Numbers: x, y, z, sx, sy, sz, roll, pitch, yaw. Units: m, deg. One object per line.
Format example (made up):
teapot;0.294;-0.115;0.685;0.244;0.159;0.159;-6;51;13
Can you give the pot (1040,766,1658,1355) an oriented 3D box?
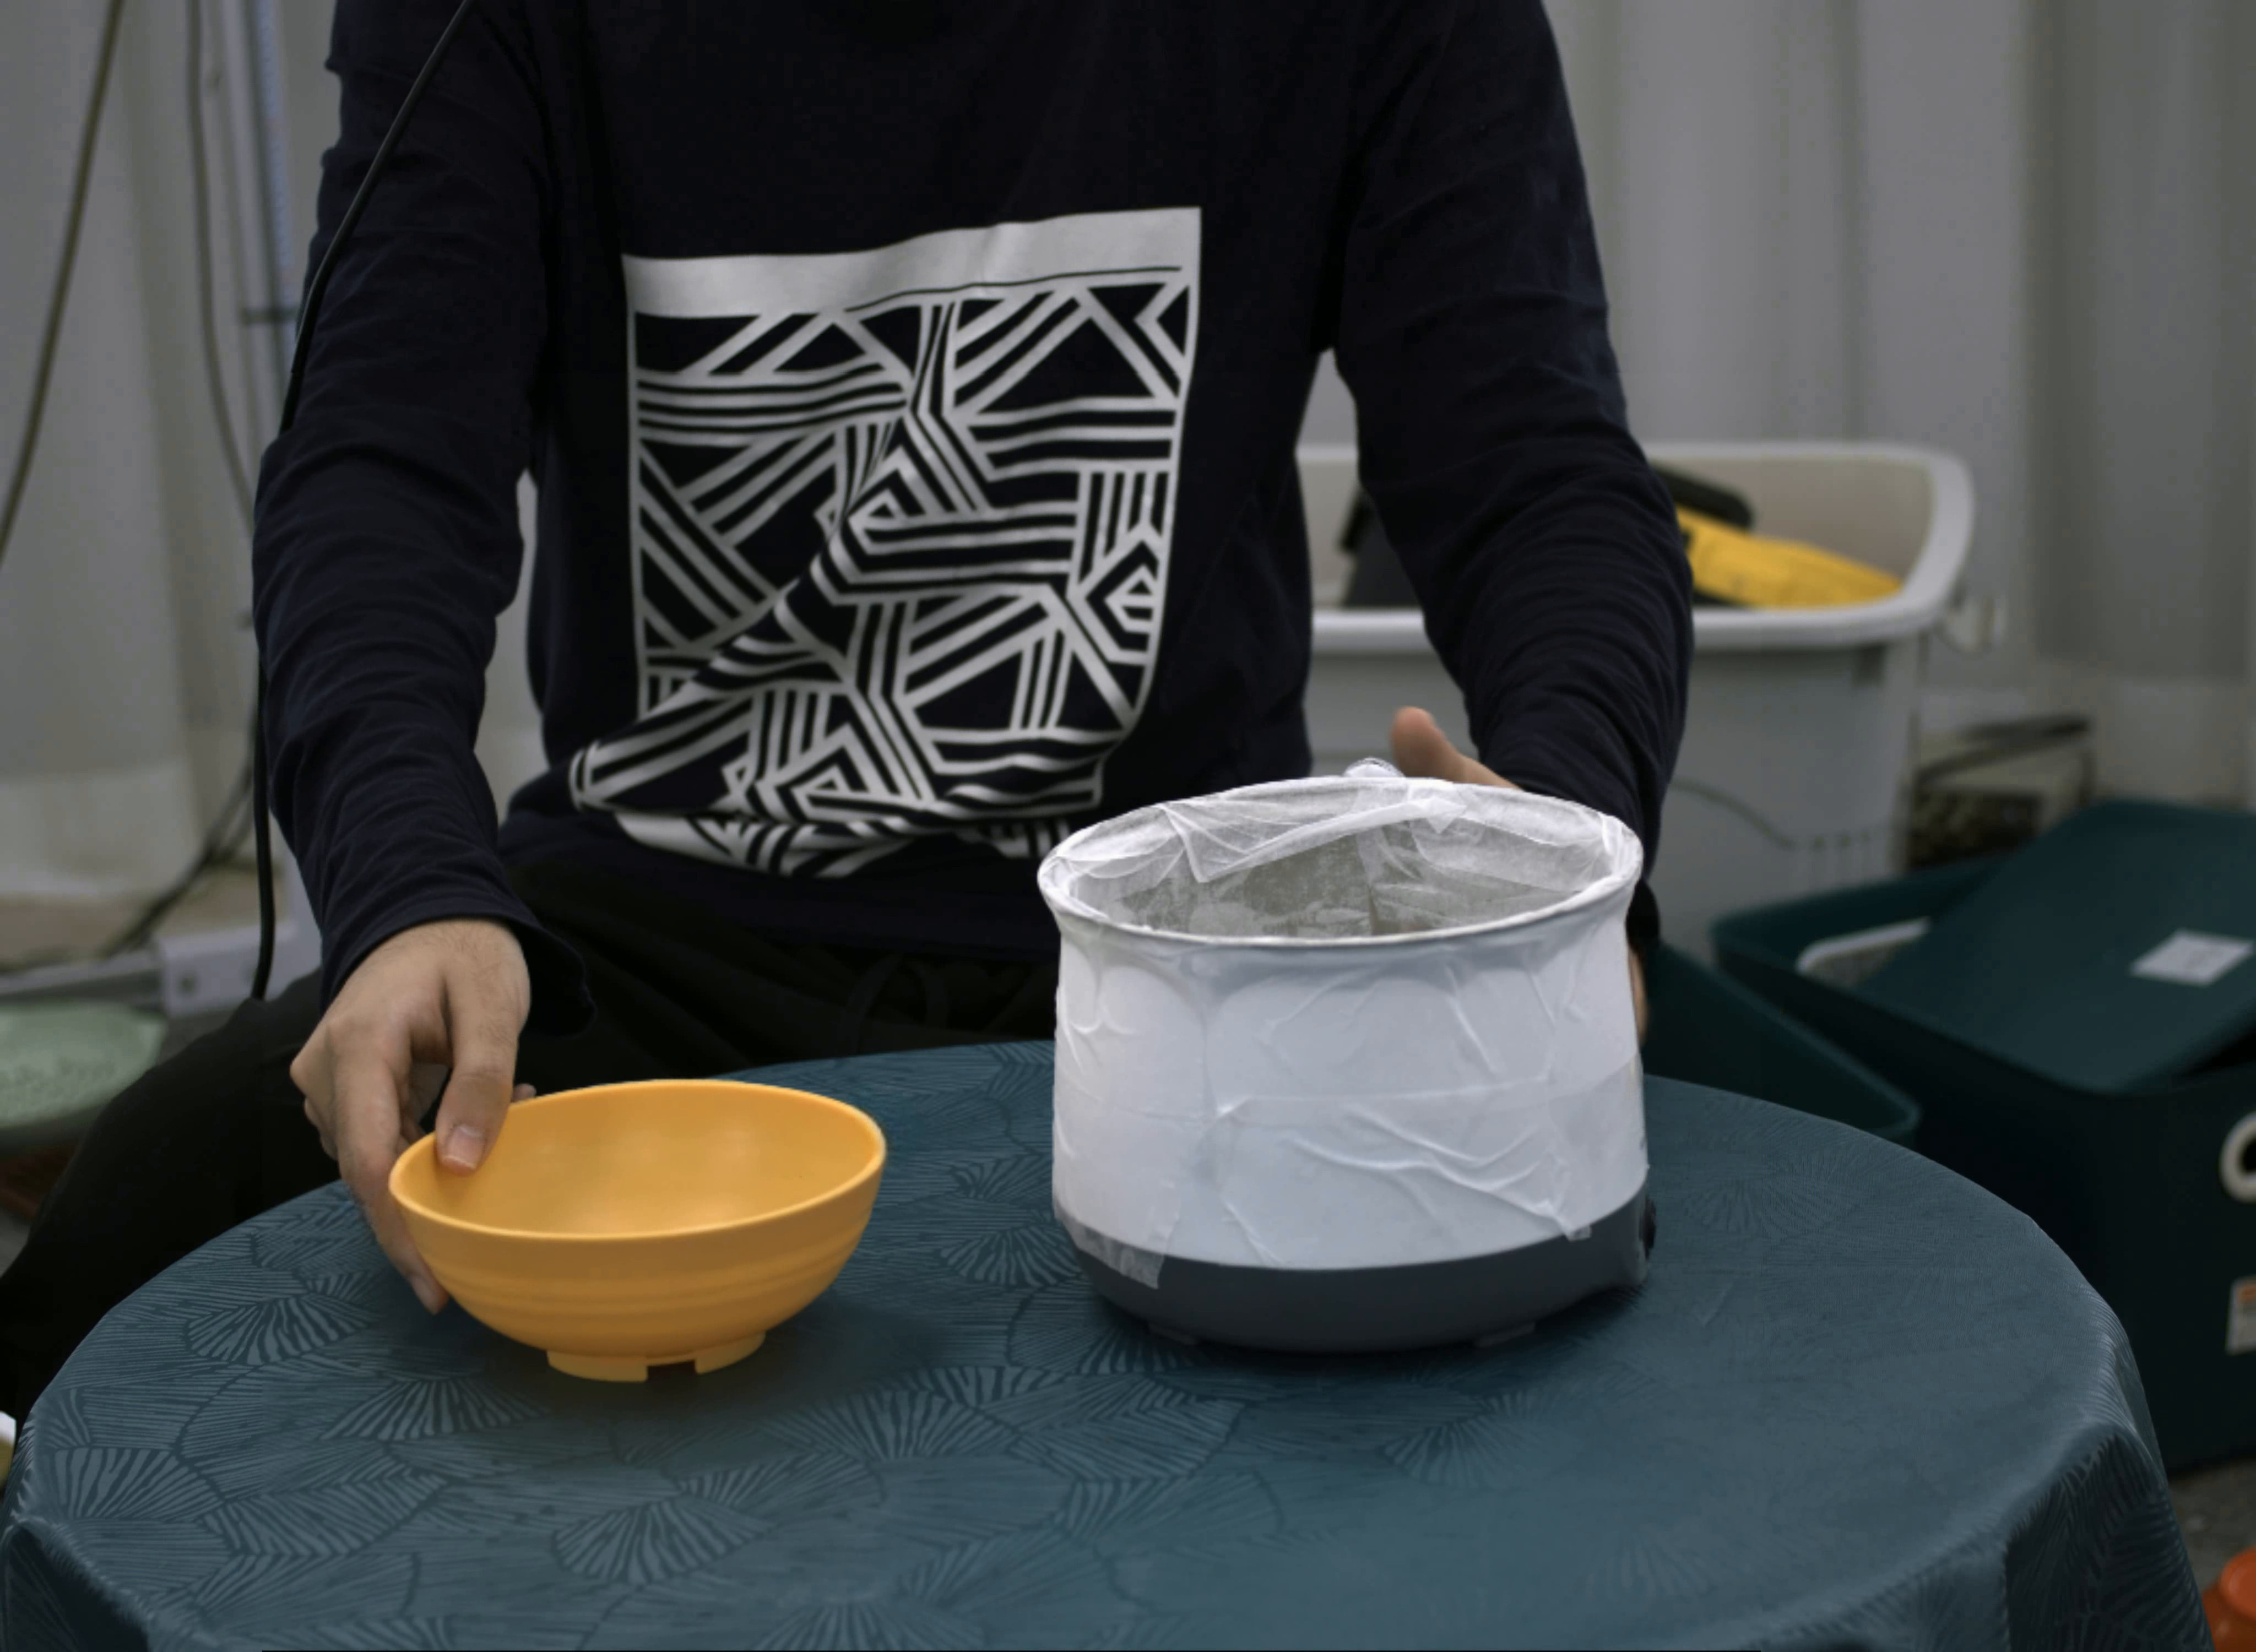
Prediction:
pot;0.069;0.065;1.635;0.178;0.136;0.235;-1;13;8

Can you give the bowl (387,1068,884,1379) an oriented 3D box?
bowl;-0.142;0.122;1.597;0.145;0.060;0.146;-1;16;0
